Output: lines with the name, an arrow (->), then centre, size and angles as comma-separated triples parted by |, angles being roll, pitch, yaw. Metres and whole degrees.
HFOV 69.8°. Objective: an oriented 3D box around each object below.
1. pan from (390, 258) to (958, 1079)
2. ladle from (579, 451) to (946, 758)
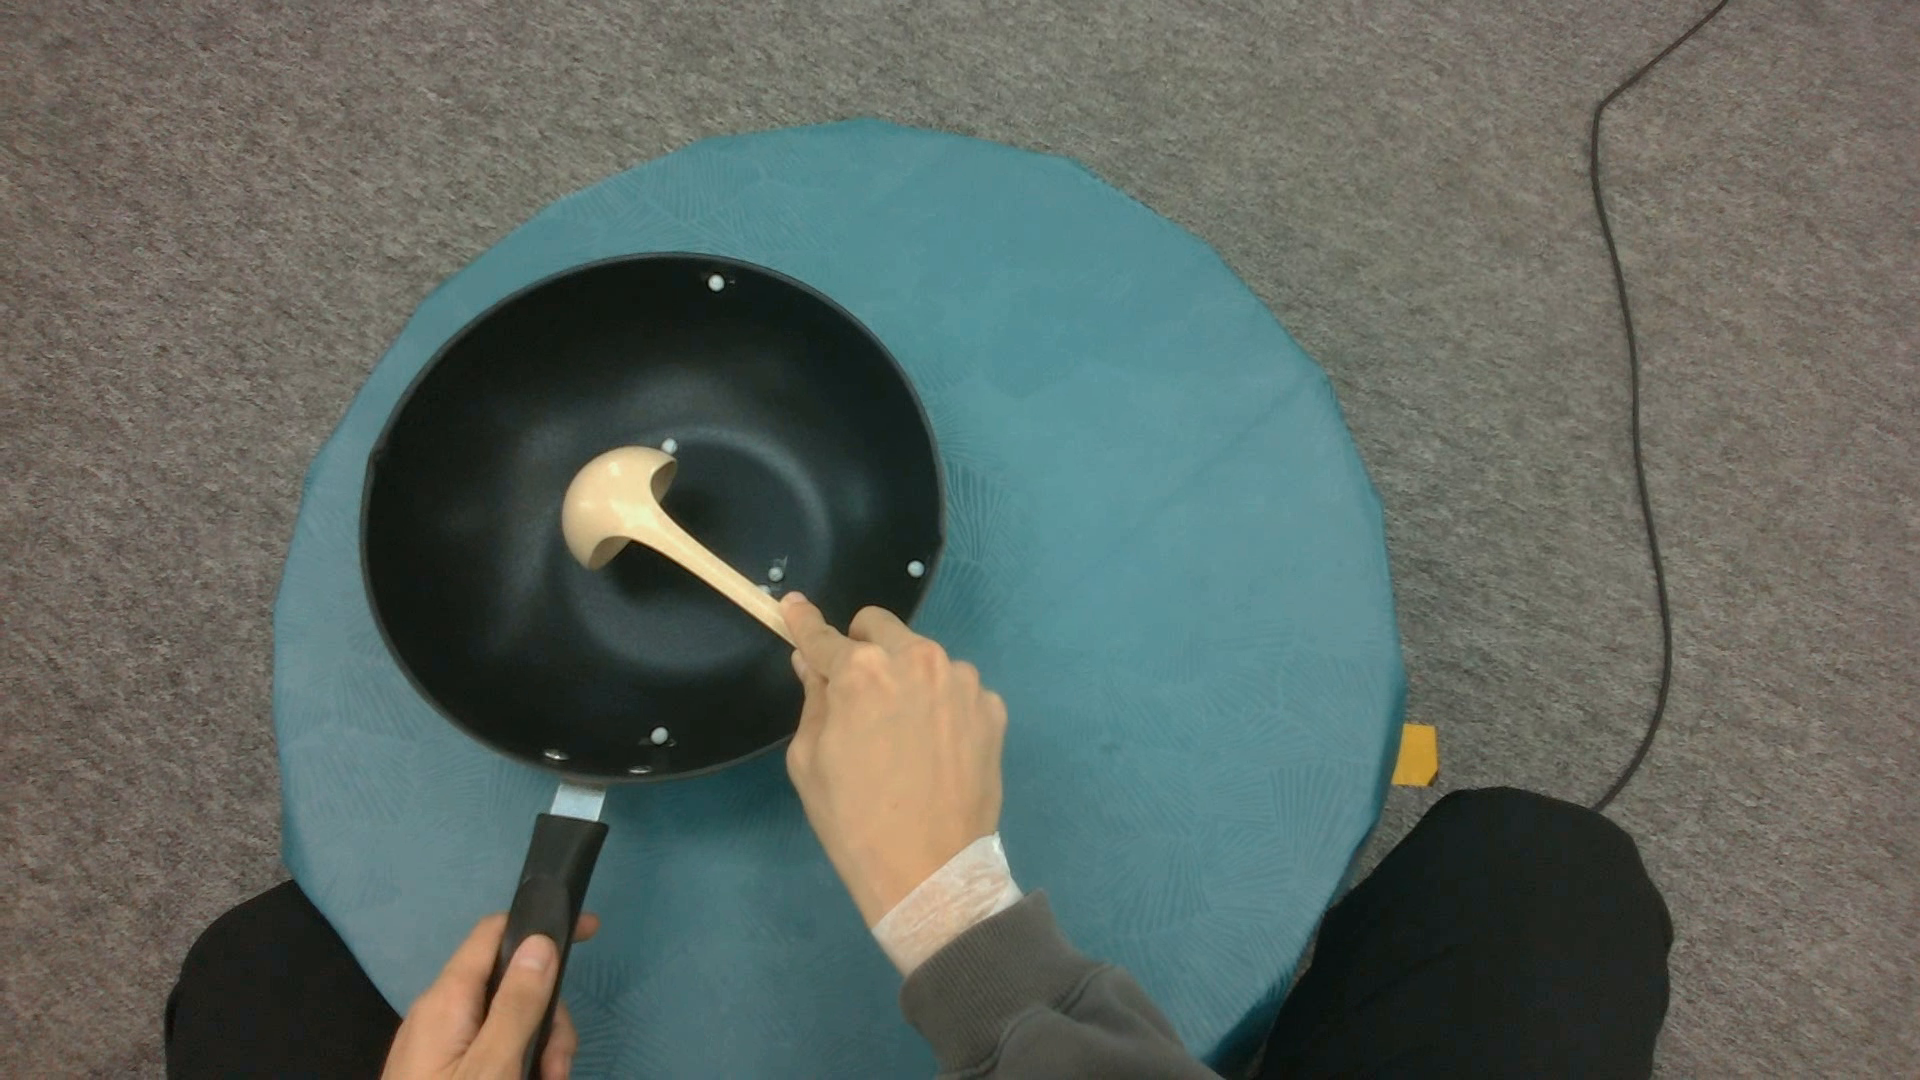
pan -> -0.159, 0.080, 0.692 | 0.288, 0.086, 0.465 | 9, 71, 4
ladle -> -0.093, 0.039, 0.686 | 0.254, 0.072, 0.072 | 36, 79, 25
